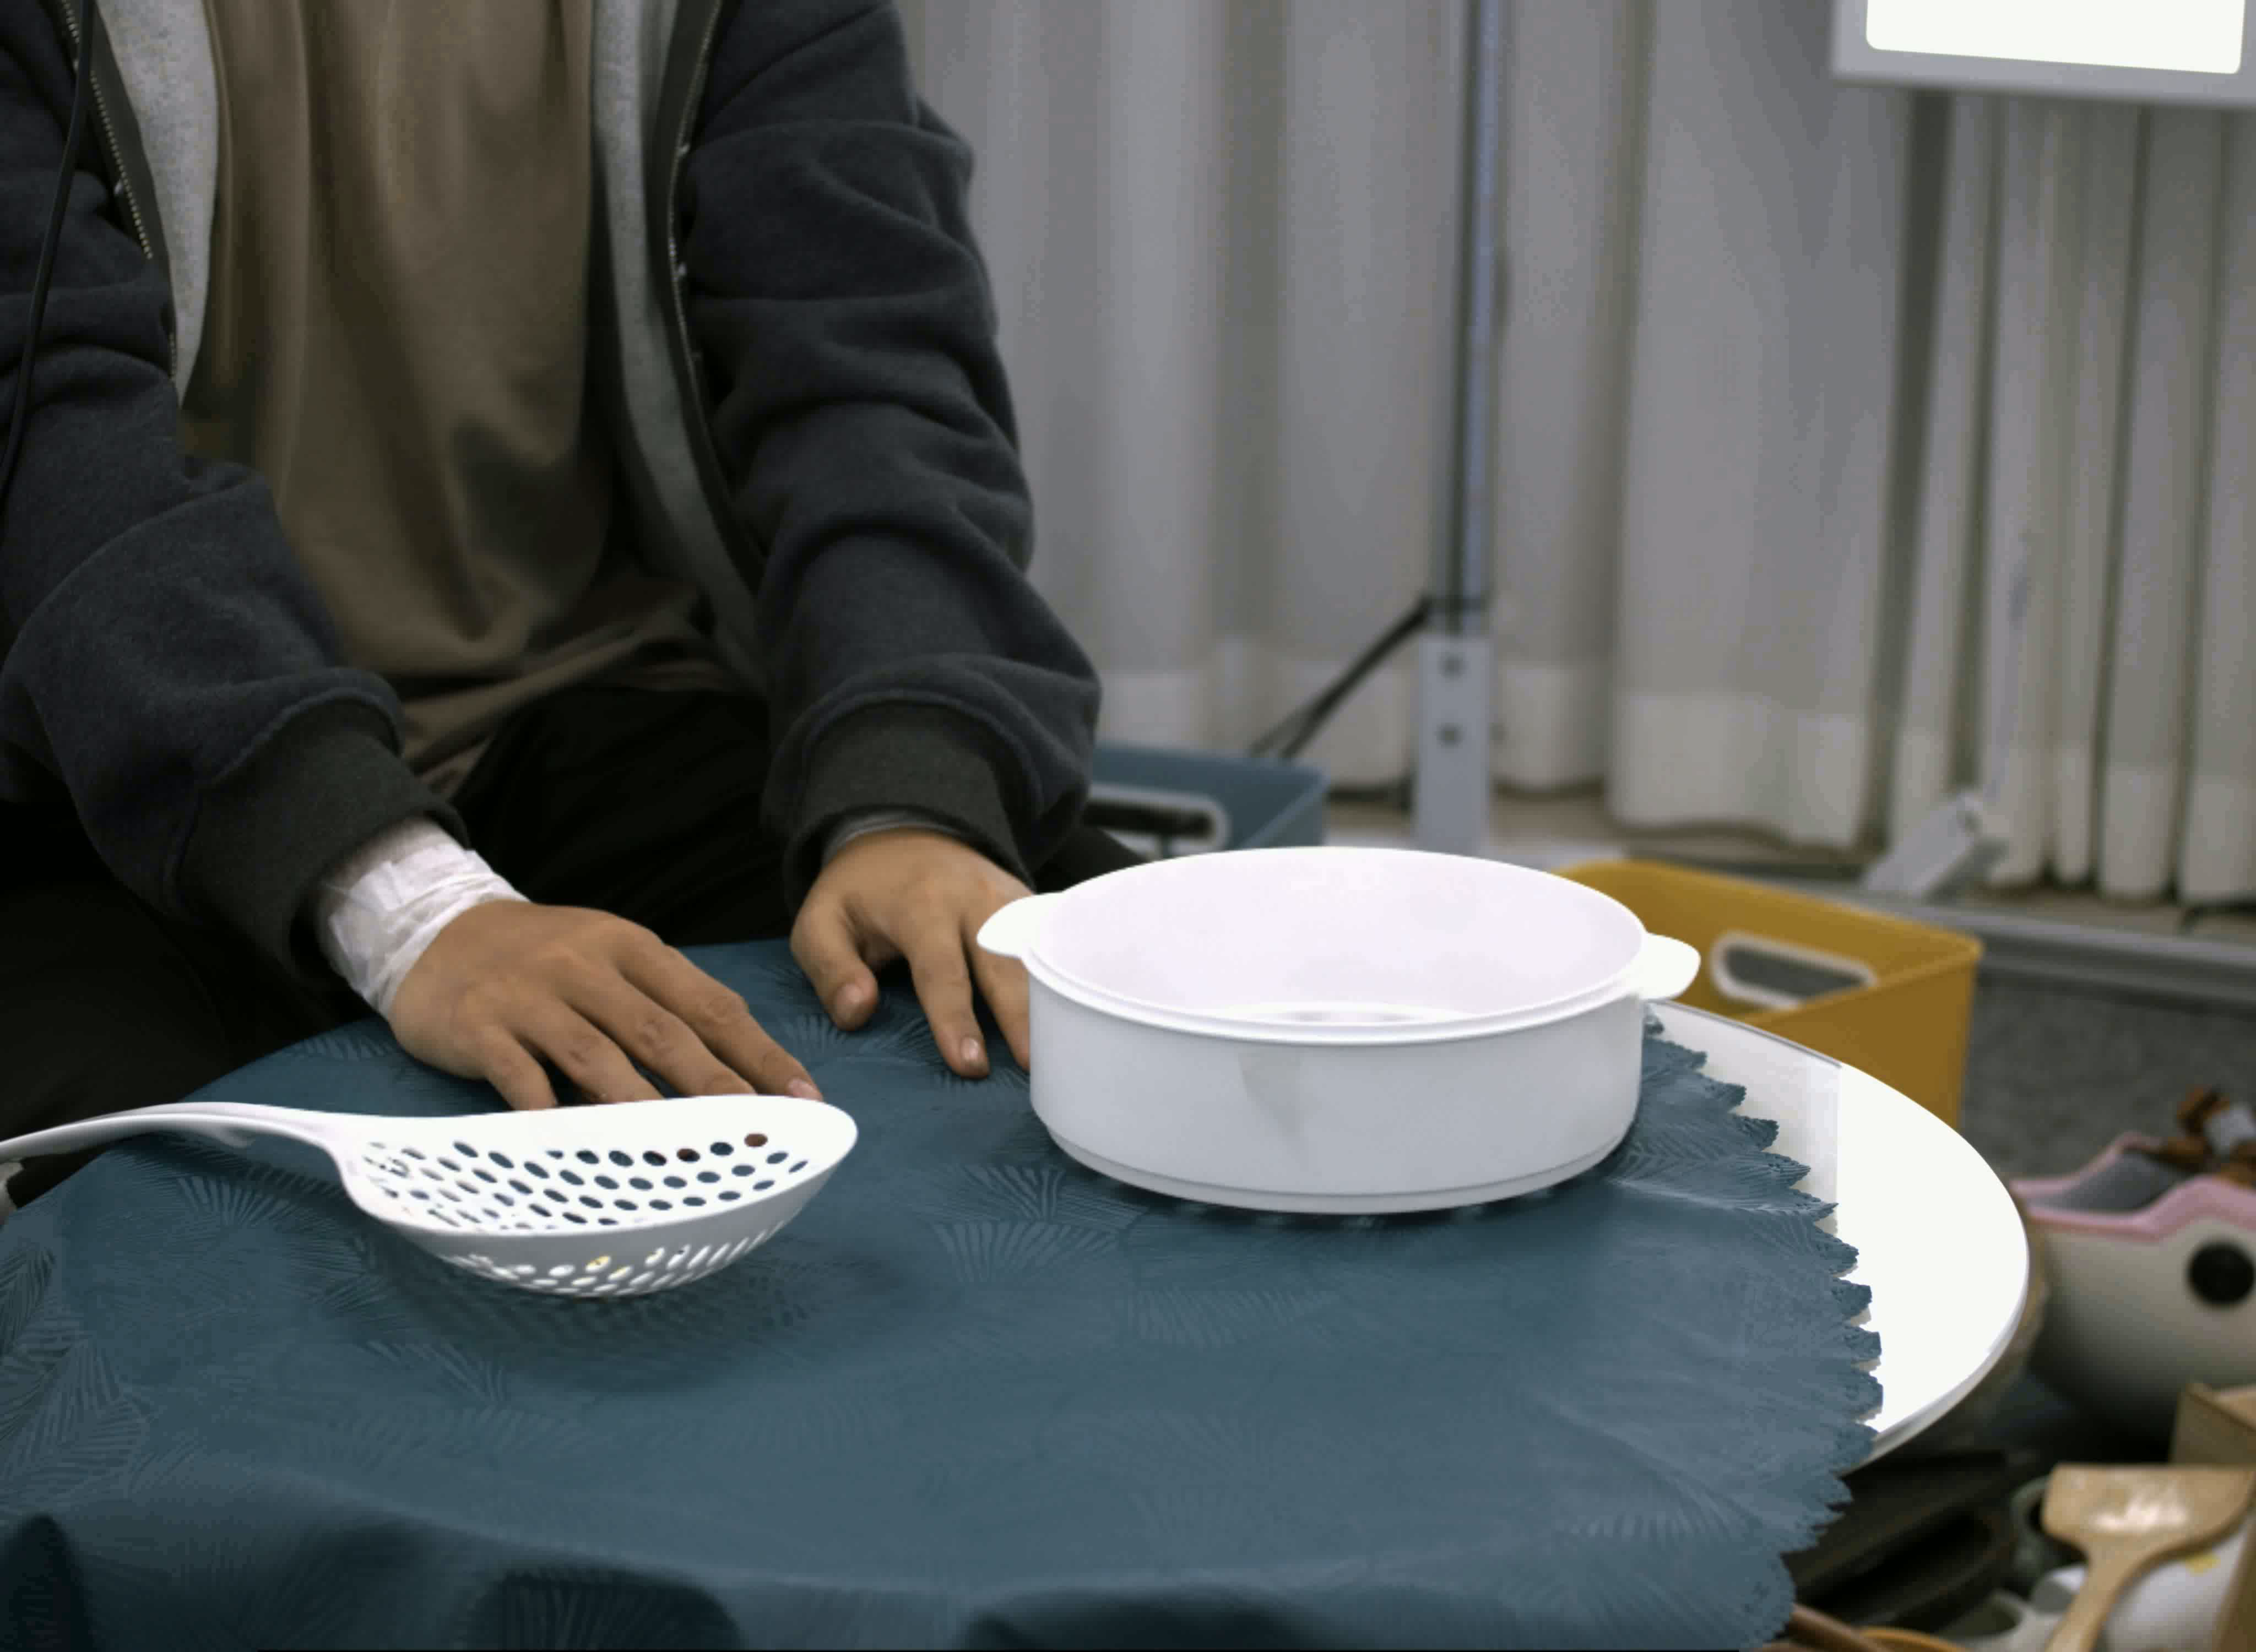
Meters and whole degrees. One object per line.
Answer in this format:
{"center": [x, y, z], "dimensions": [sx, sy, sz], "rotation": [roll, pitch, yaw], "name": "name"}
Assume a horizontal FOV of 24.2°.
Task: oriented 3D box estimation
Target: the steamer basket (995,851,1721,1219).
{"center": [0.071, 0.065, 1.668], "dimensions": [0.229, 0.070, 0.202], "rotation": [6, 16, 12], "name": "steamer basket"}

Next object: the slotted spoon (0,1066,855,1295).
{"center": [-0.232, 0.104, 1.597], "dimensions": [0.343, 0.051, 0.137], "rotation": [6, 21, 36], "name": "slotted spoon"}
